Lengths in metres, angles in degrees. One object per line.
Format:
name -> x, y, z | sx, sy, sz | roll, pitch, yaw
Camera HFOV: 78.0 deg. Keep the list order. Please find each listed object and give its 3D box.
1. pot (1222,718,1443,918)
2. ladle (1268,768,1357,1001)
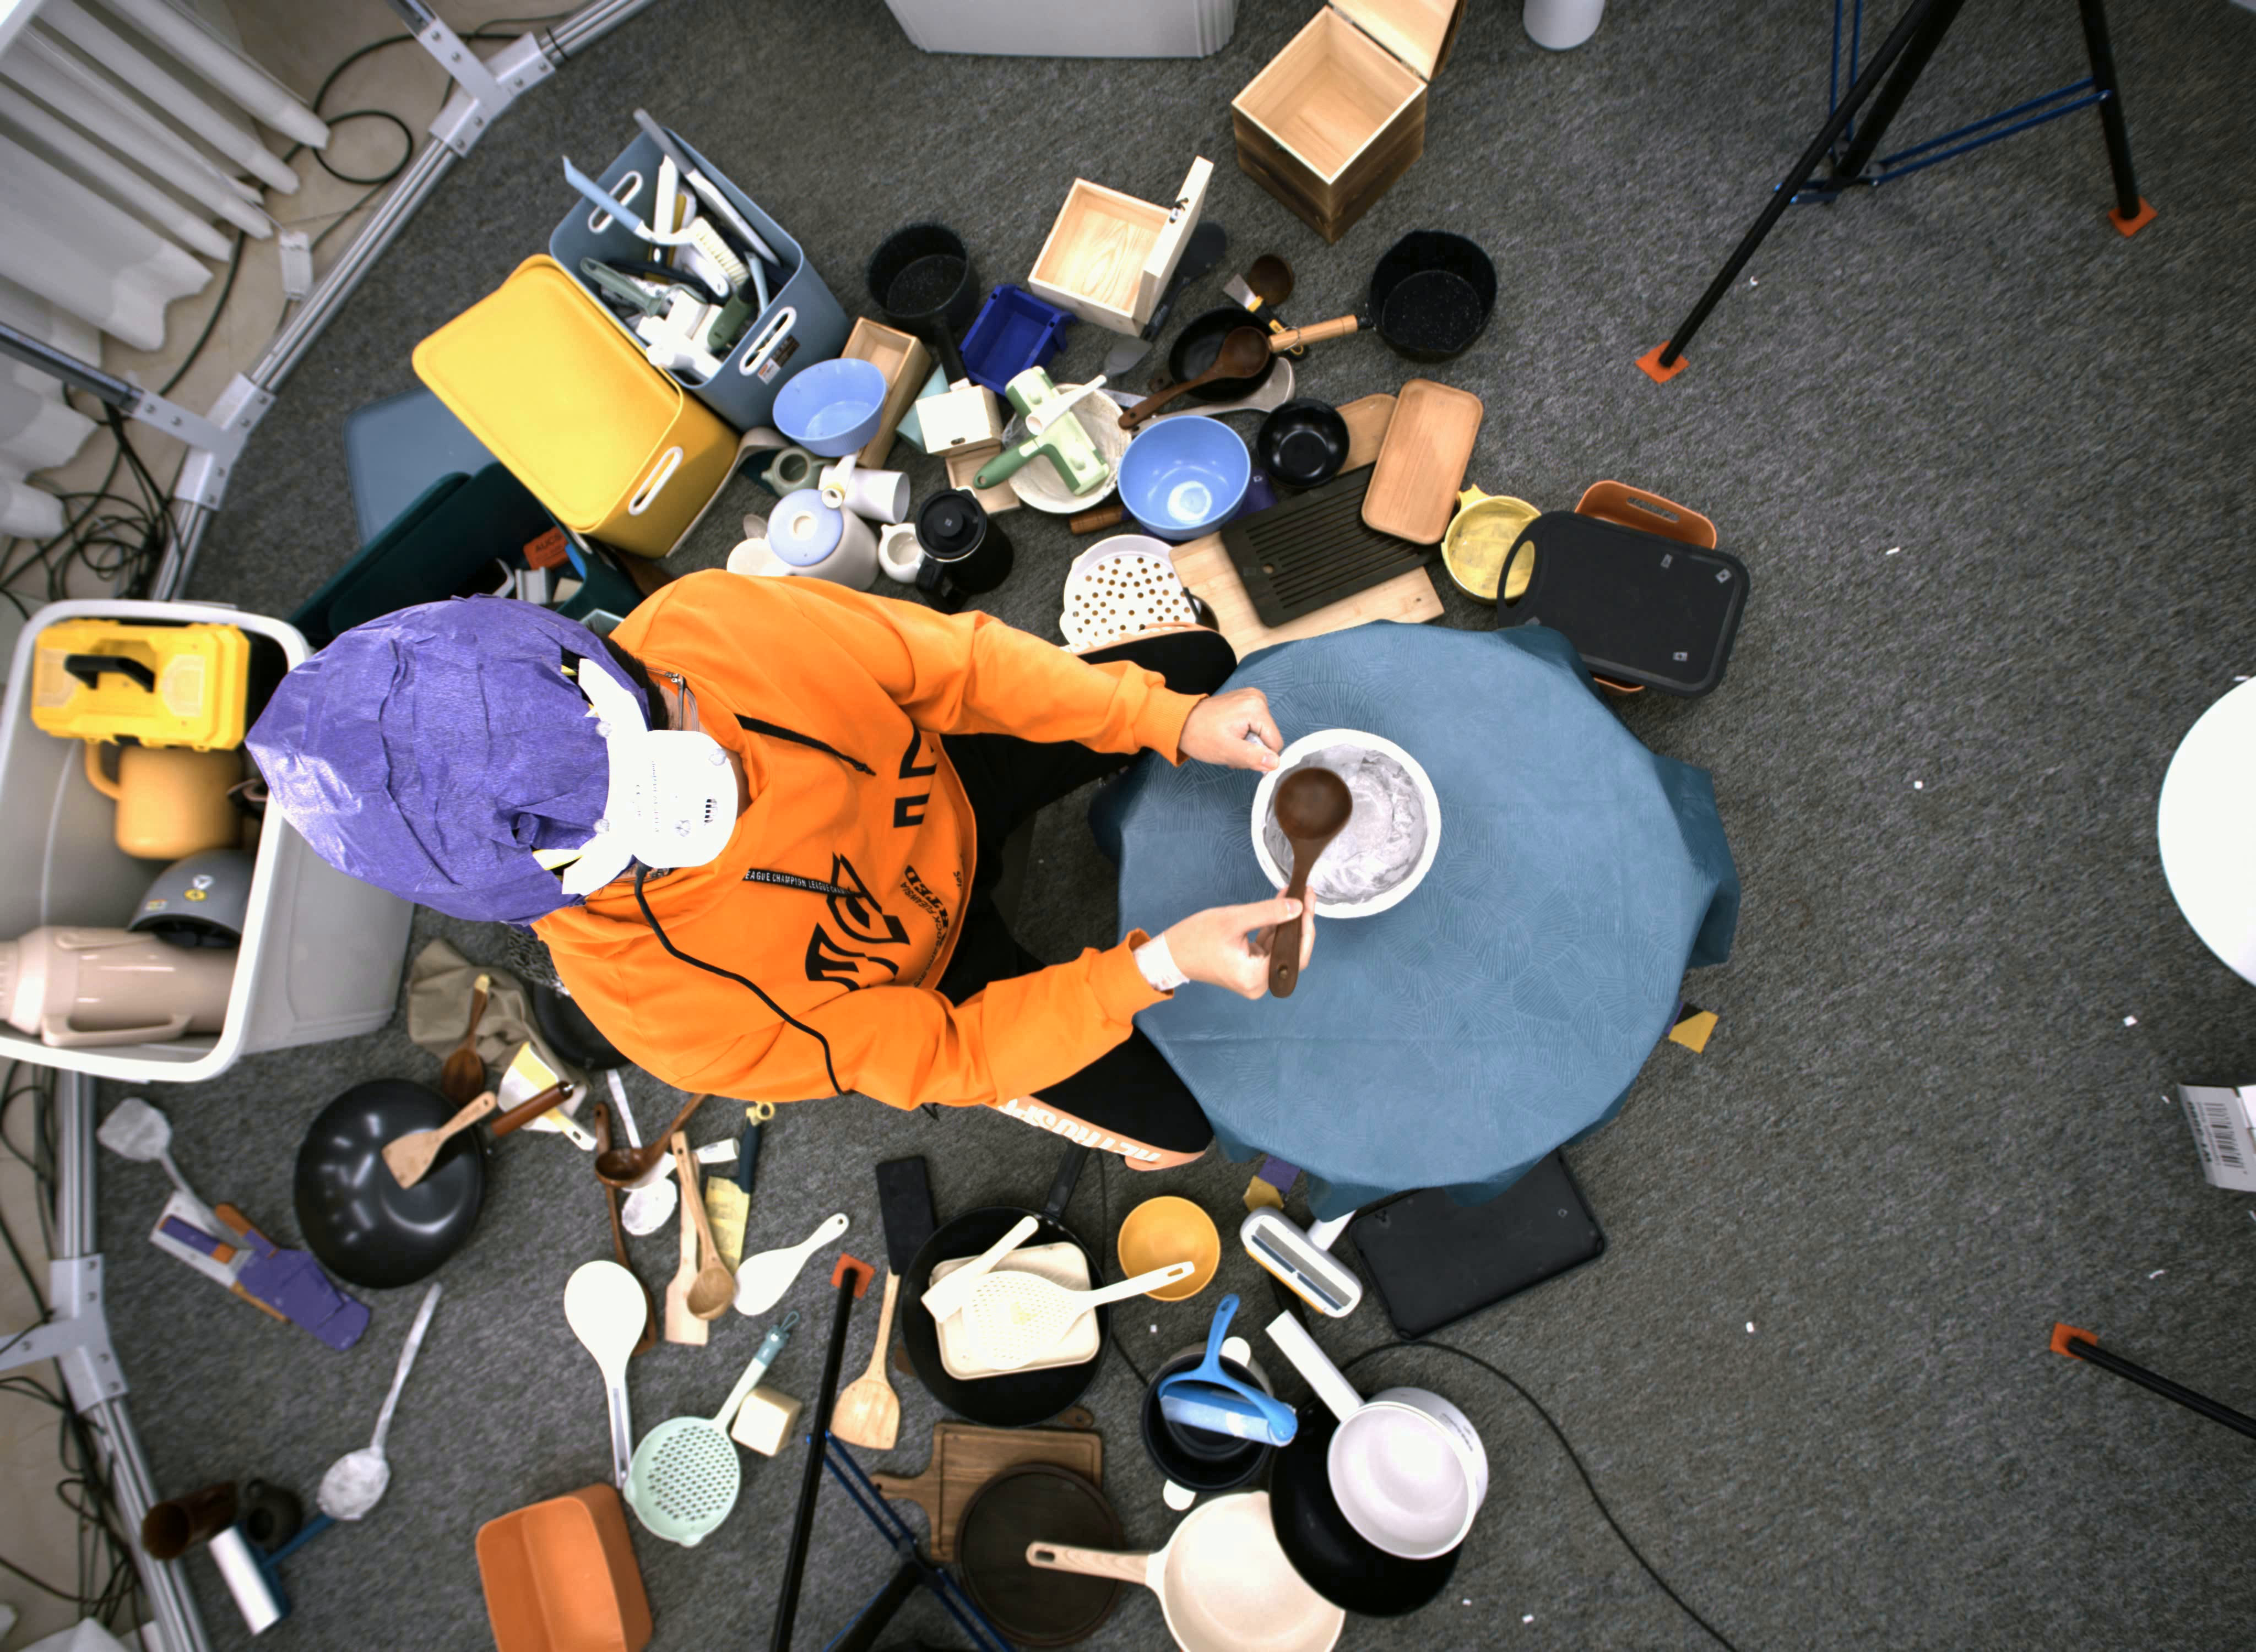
pot -> 0.190, -0.024, 1.358 | 0.234, 0.135, 0.180 | 37, 99, 1
ladle -> 0.156, 0.045, 1.253 | 0.077, 0.253, 0.066 | 0, 131, 20
